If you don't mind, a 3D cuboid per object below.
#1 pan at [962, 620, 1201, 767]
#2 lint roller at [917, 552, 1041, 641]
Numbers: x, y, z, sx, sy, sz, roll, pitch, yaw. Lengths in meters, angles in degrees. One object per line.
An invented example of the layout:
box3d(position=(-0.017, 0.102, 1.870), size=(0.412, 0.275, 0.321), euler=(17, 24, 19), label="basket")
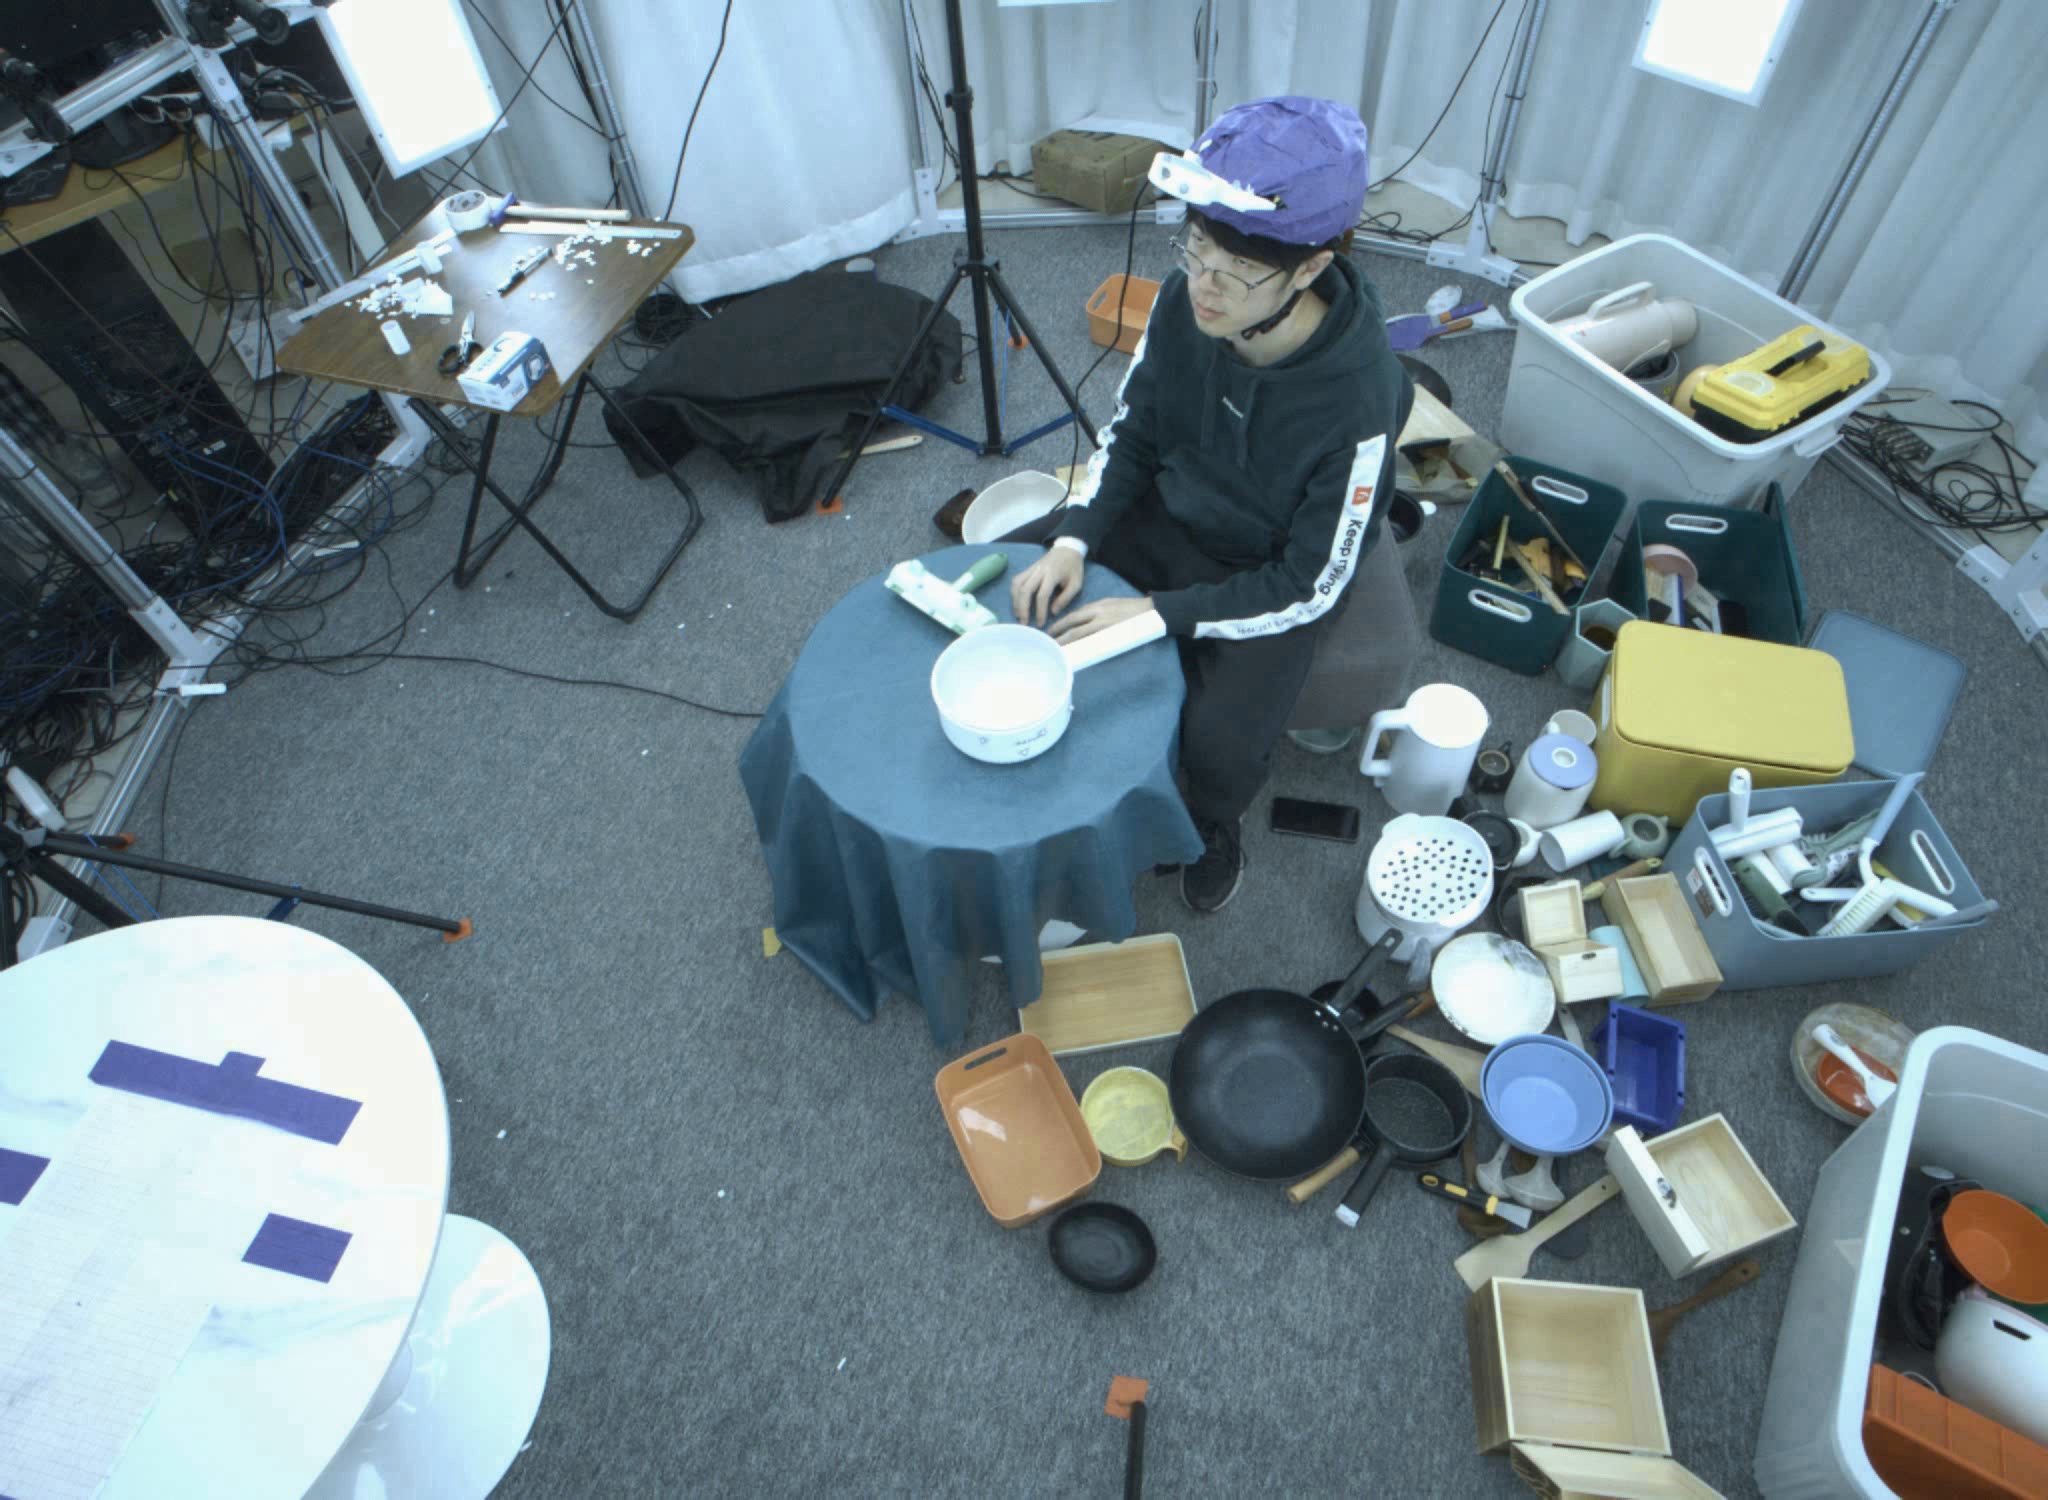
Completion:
box3d(position=(0.086, -0.096, 1.787), size=(0.357, 0.103, 0.197), euler=(-19, 56, -12), label="pan")
box3d(position=(-0.043, -0.272, 1.931), size=(0.195, 0.083, 0.184), euler=(37, 69, 25), label="lint roller")
